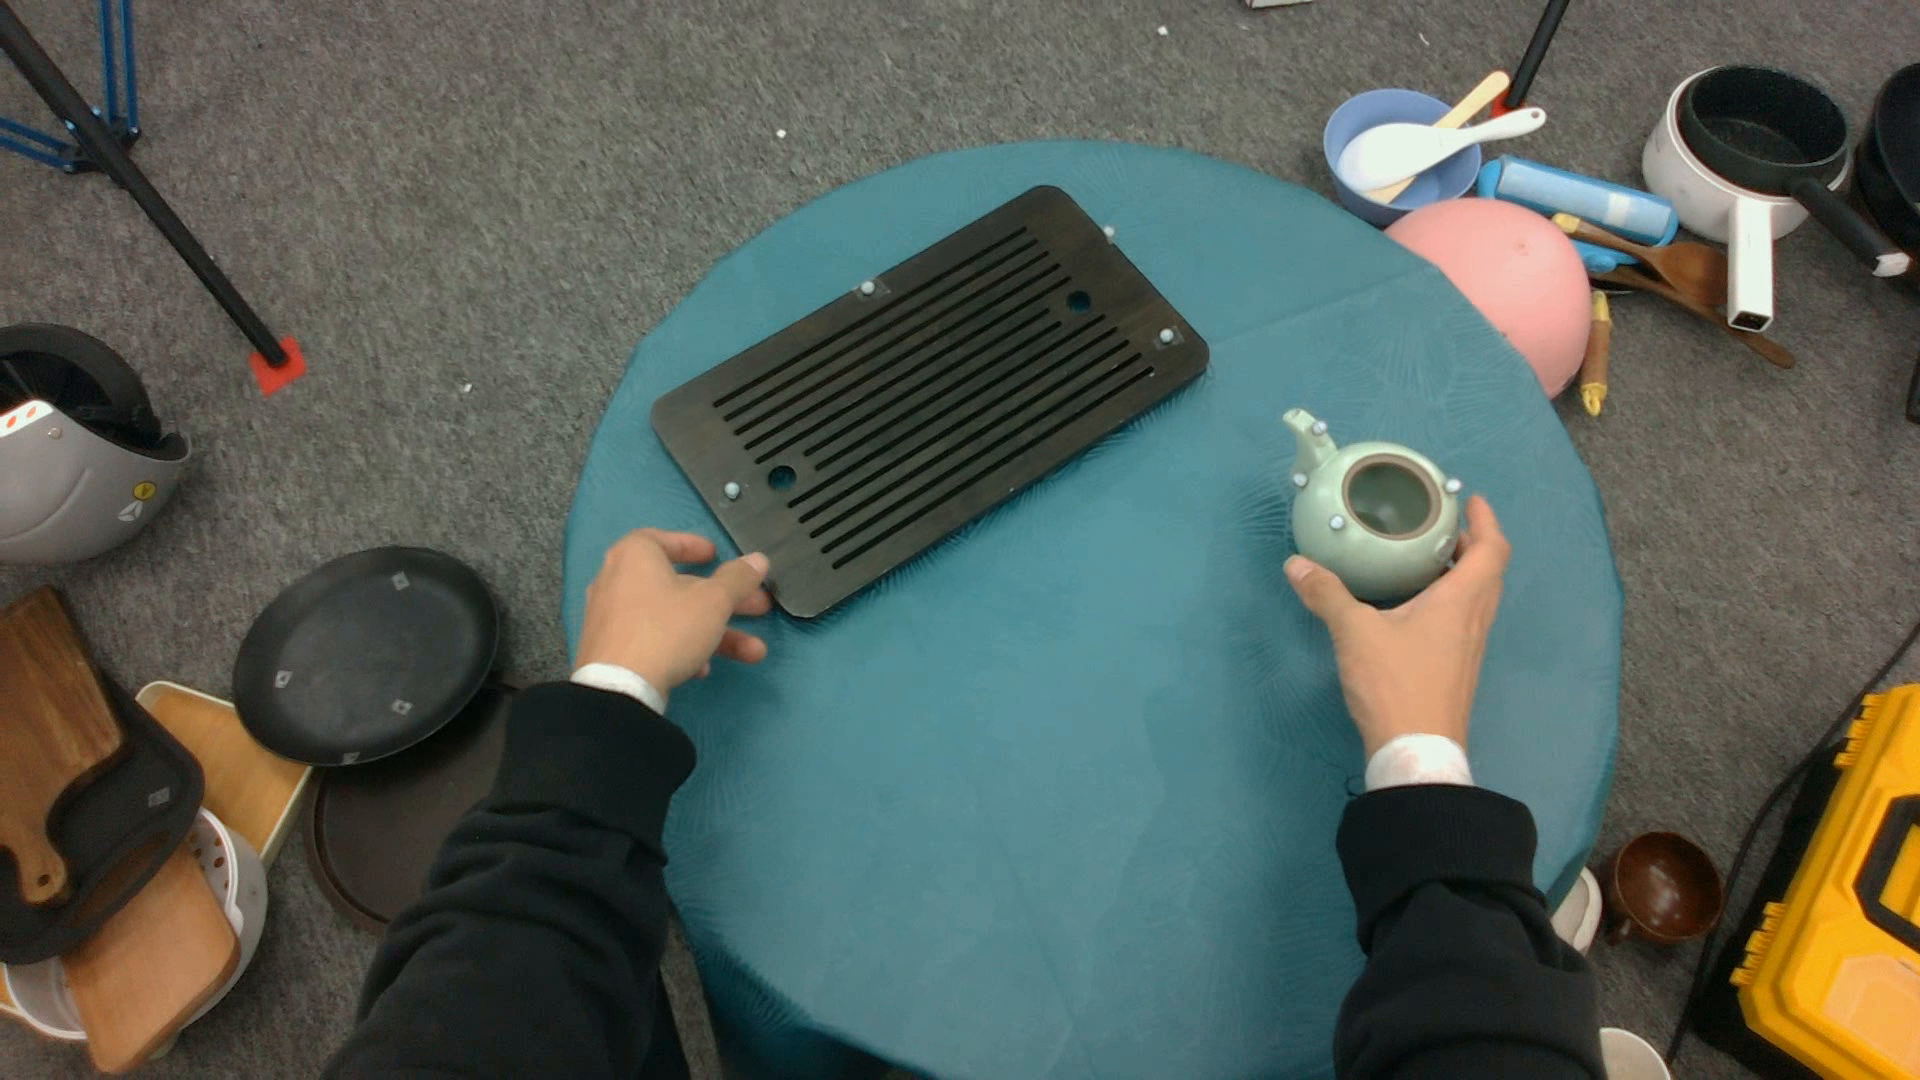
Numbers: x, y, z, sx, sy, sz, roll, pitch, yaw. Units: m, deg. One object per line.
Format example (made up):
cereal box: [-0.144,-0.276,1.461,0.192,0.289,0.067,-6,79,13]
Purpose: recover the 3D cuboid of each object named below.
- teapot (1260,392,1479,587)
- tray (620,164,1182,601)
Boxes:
teapot: [0.217,-0.020,0.761,0.088,0.074,0.144,-40,70,-19]
tray: [-0.032,-0.102,0.821,0.307,0.018,0.170,-33,70,-17]
